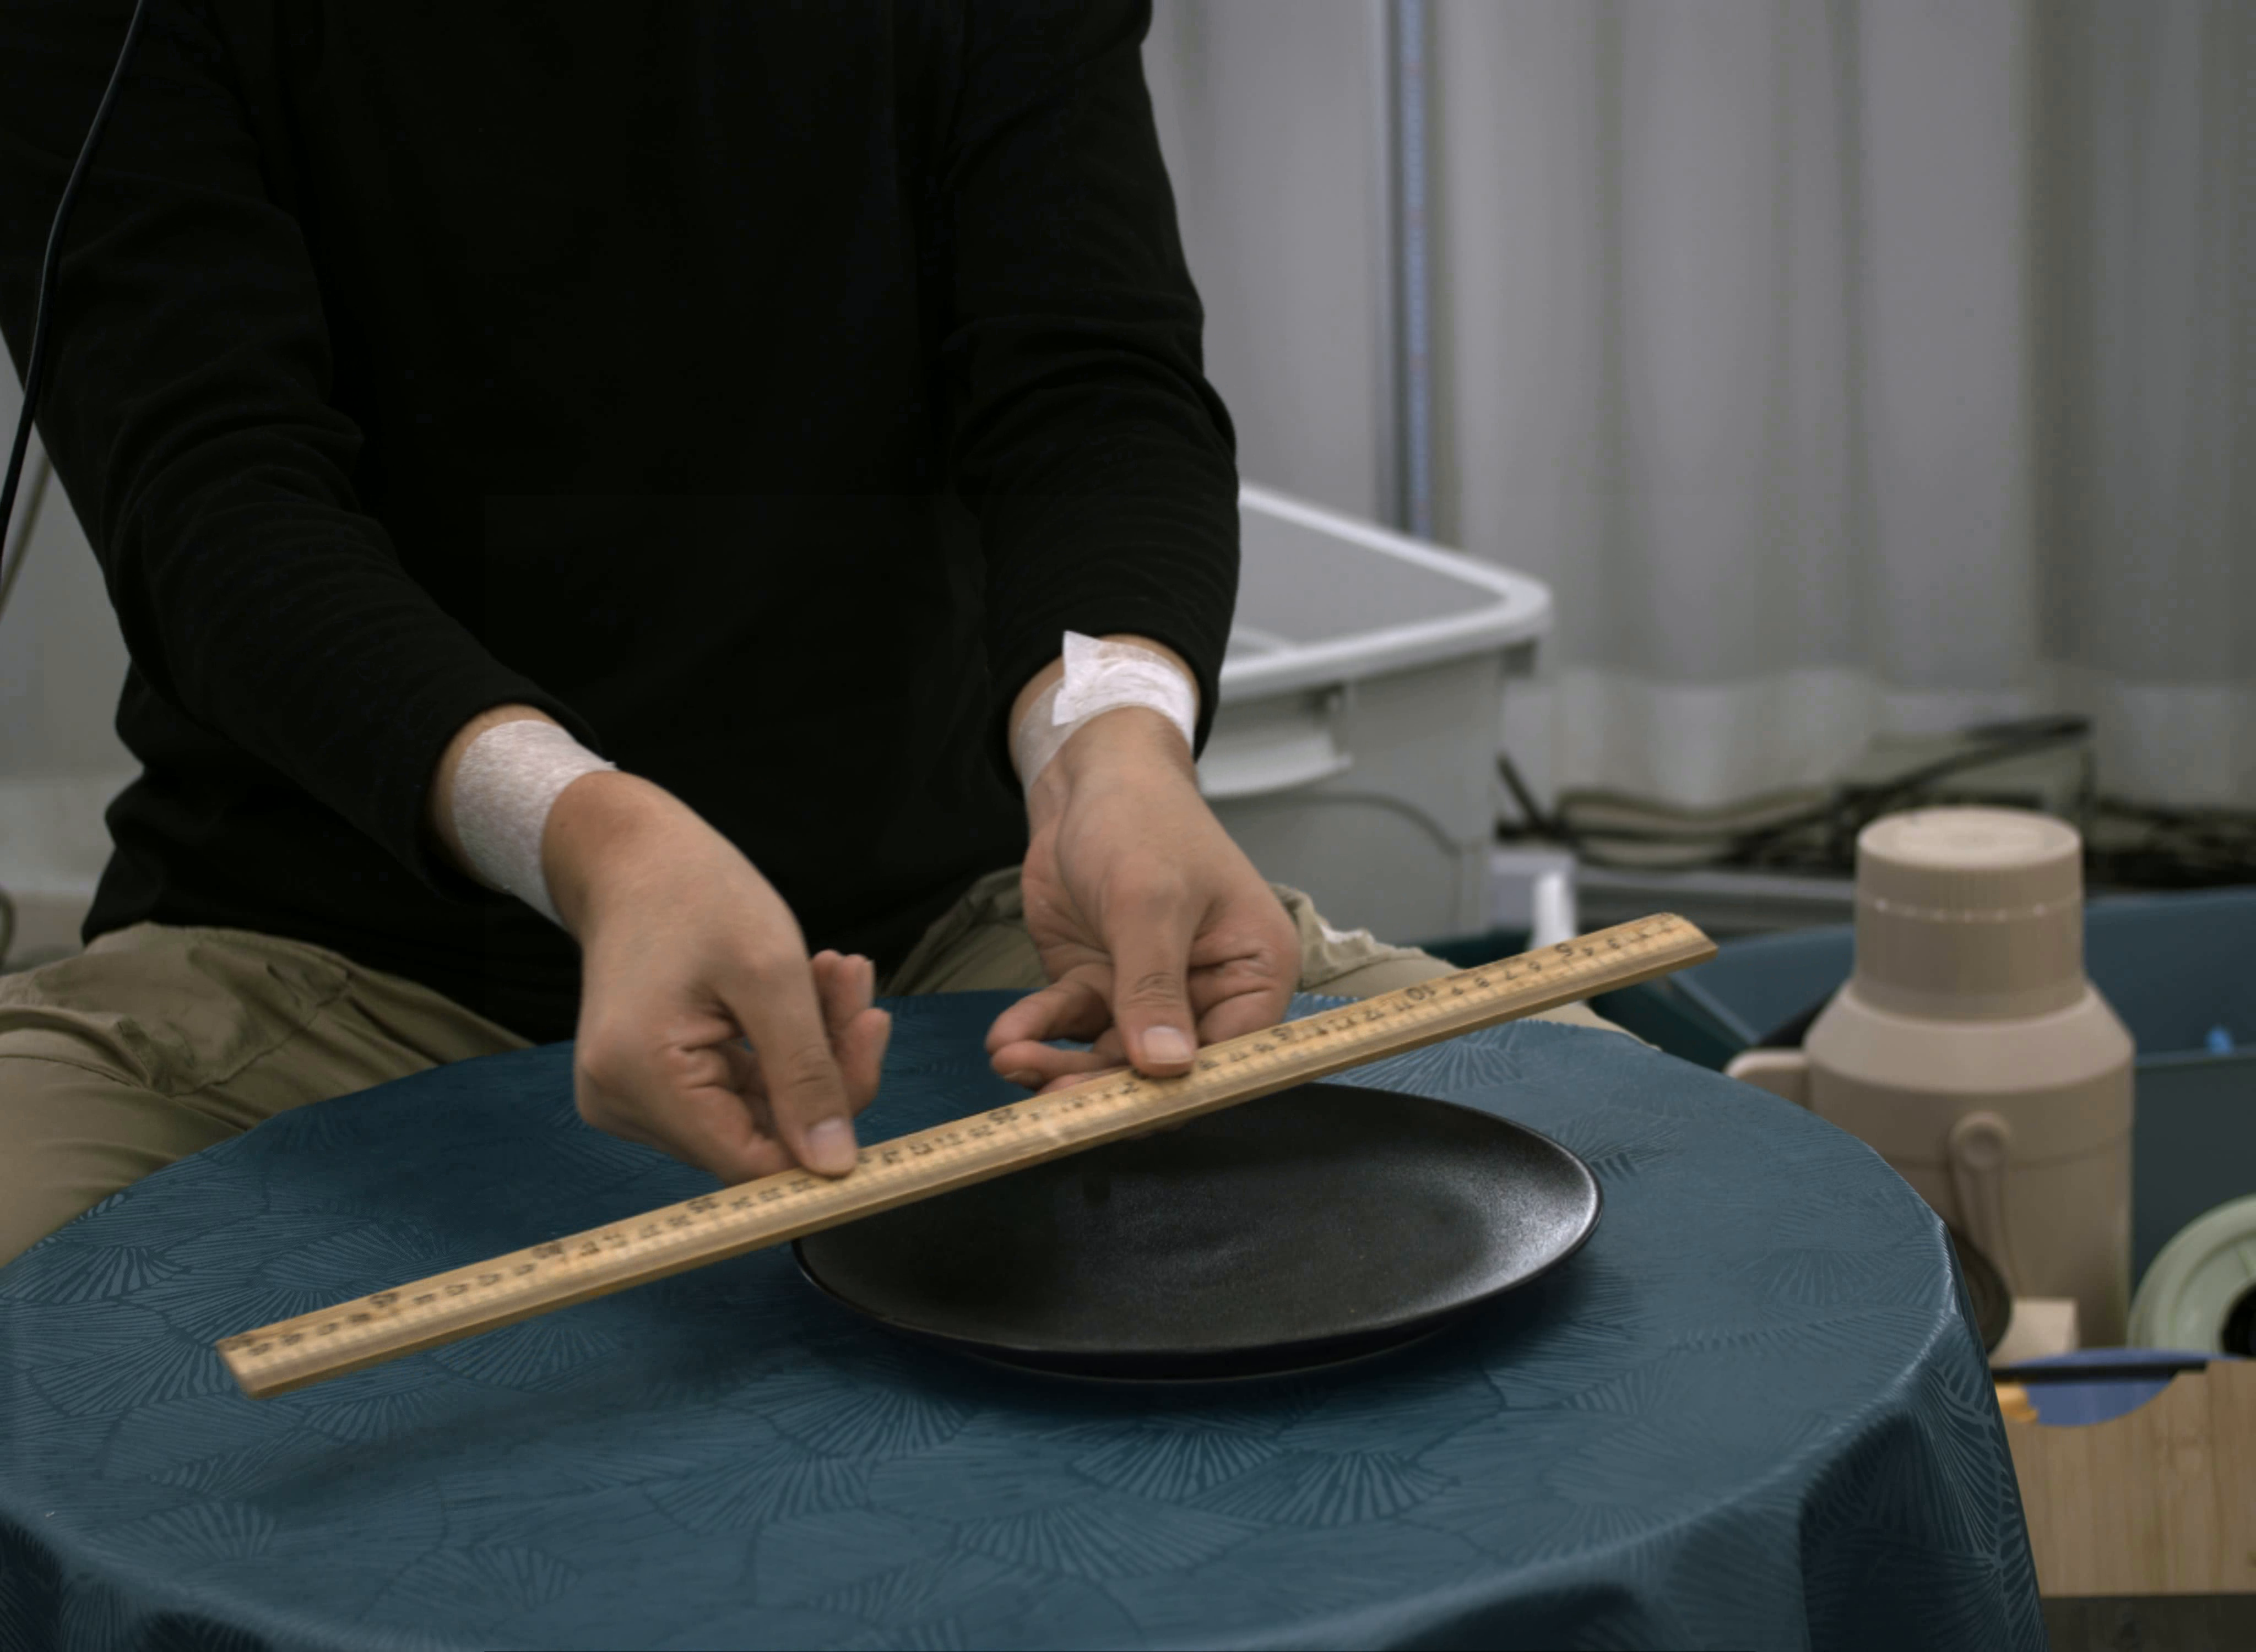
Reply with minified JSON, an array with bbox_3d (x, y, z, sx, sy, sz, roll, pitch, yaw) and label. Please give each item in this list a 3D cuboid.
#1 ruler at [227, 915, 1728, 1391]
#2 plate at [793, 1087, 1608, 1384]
[{"bbox_3d":[-0.031,0.091,1.619,0.499,0.006,0.027,-15,36,-27],"label":"ruler"},{"bbox_3d":[0.022,0.124,1.631,0.243,0.023,0.246,-3,15,1],"label":"plate"}]
